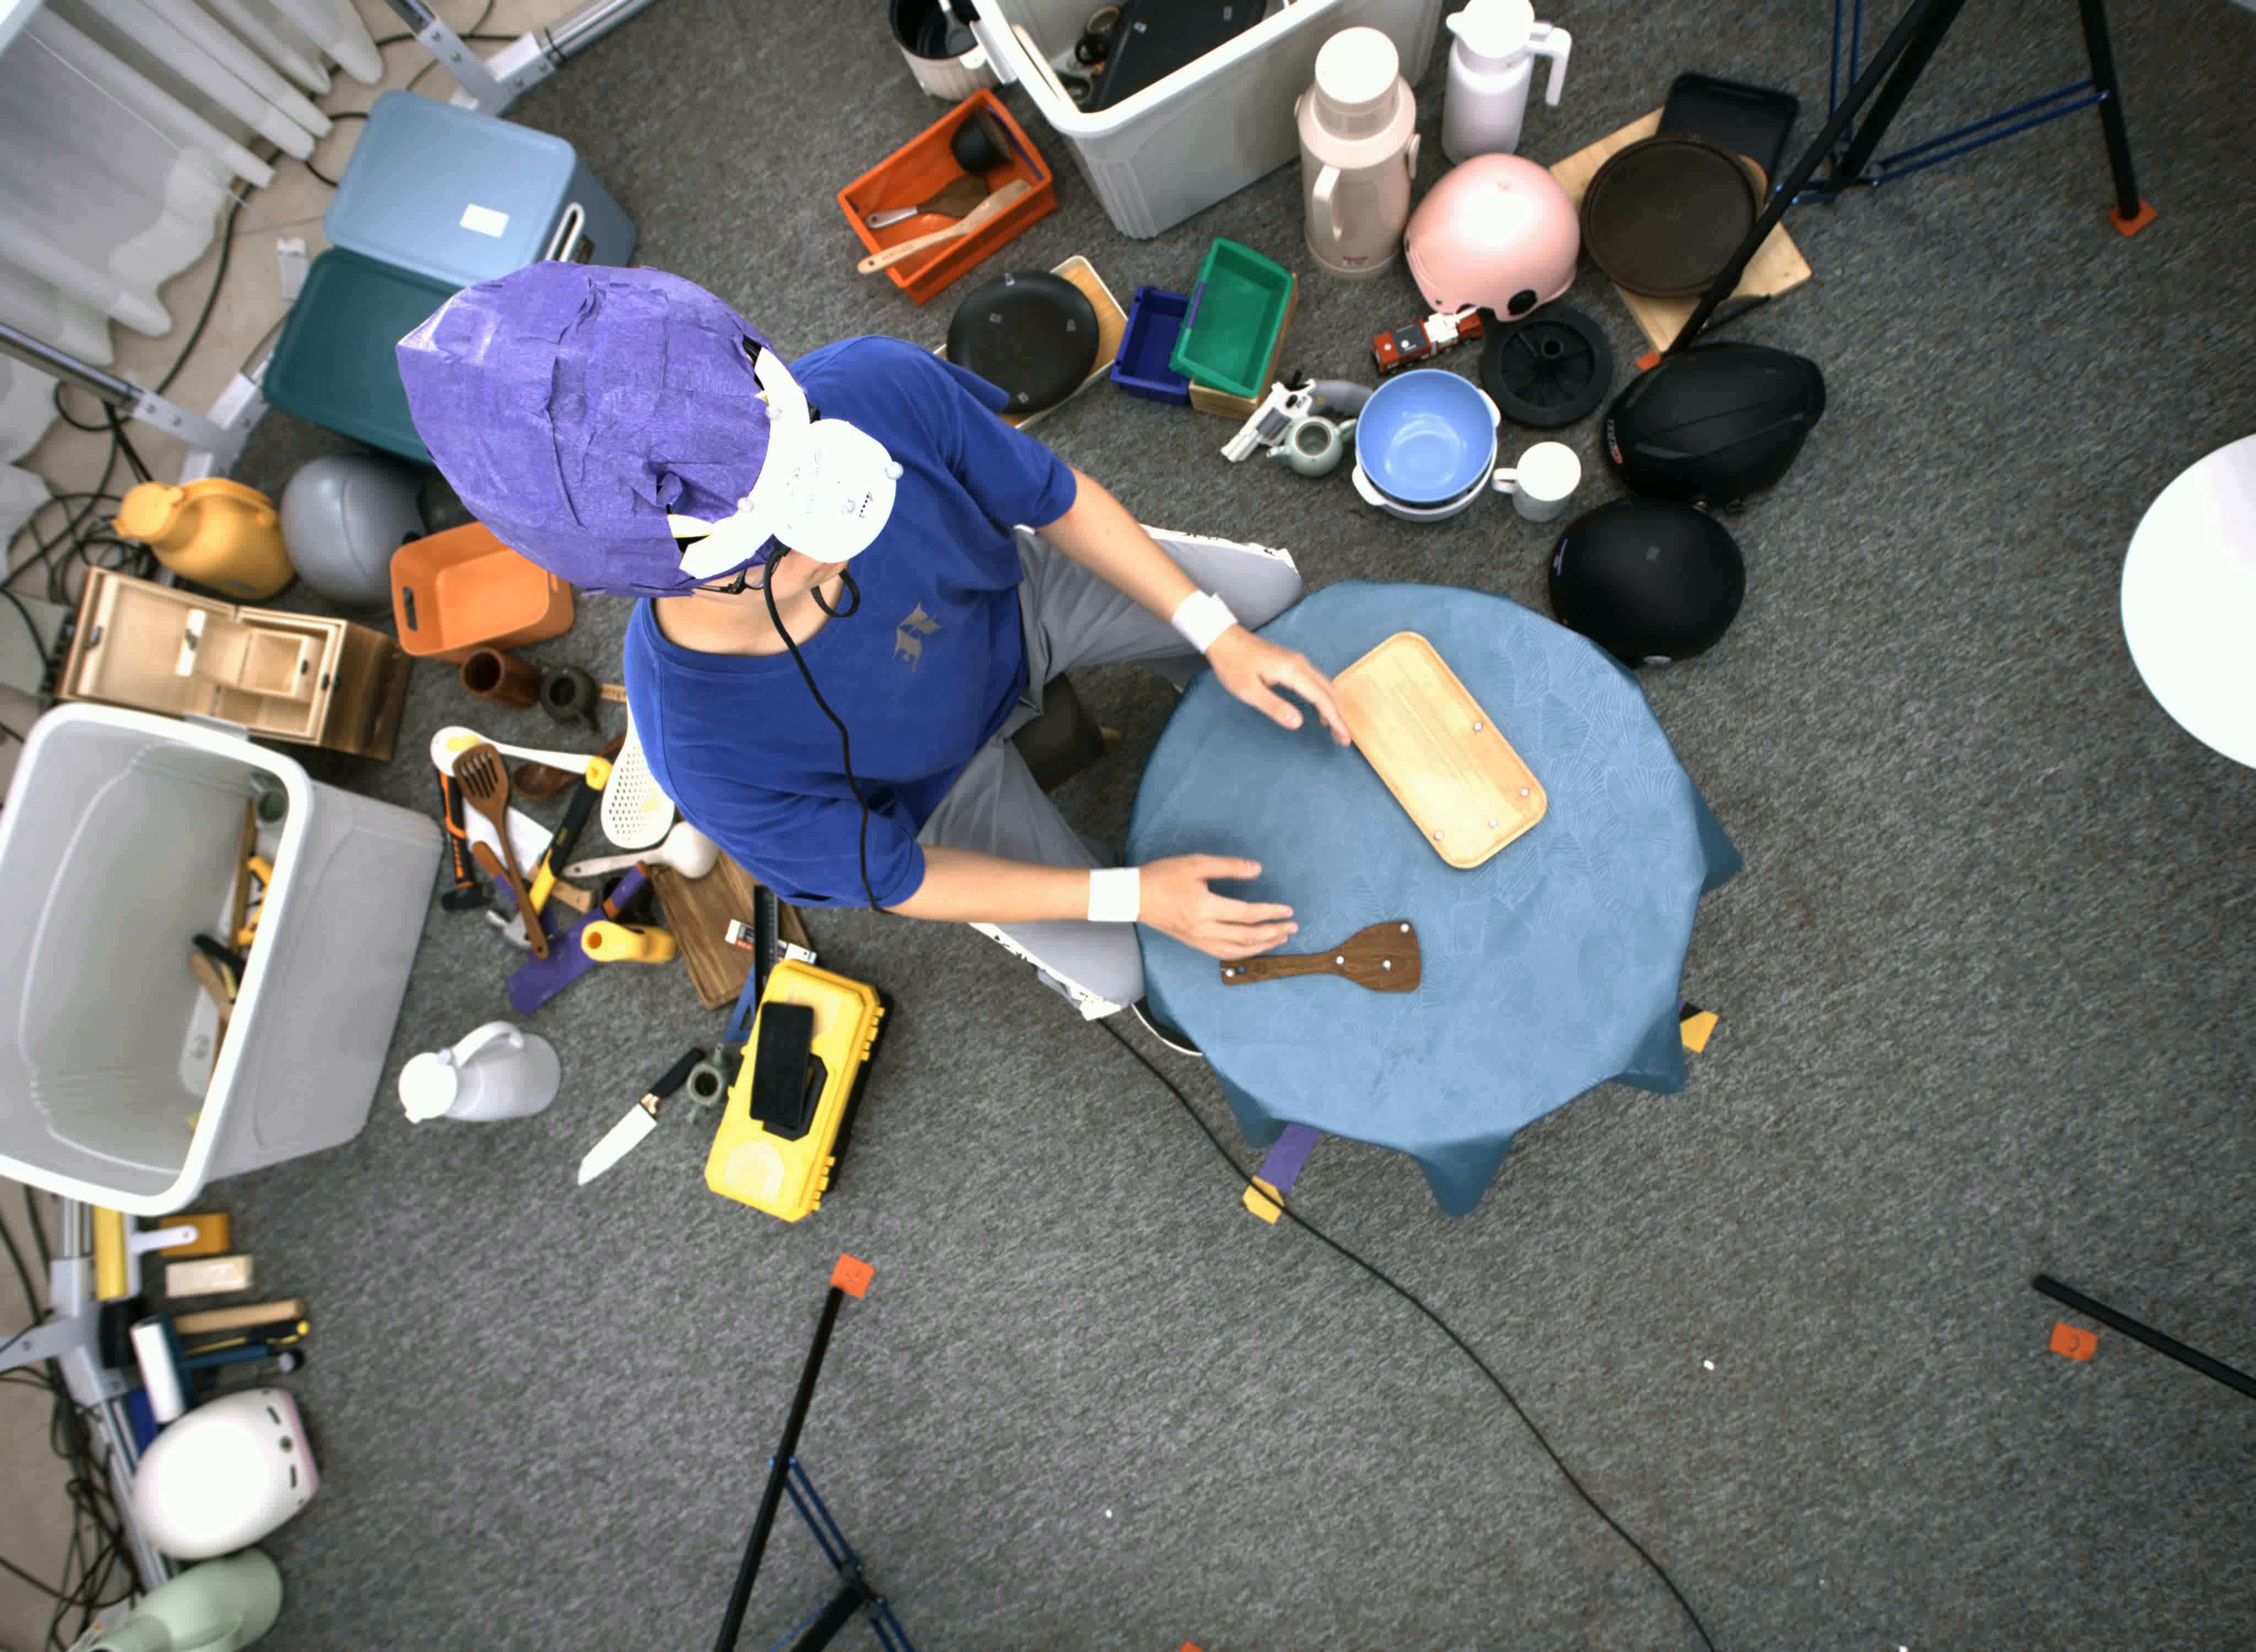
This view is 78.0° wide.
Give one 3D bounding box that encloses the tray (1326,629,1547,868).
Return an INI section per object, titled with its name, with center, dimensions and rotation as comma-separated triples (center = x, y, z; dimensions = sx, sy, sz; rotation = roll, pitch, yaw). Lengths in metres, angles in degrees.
[tray]
center = 0.323, -0.084, 1.447
dimensions = 0.131, 0.023, 0.249
rotation = -35, 81, 5

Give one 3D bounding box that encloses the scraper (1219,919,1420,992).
[scraper]
center = 0.201, 0.144, 1.463
dimensions = 0.212, 0.011, 0.075
rotation = -6, 85, 11
